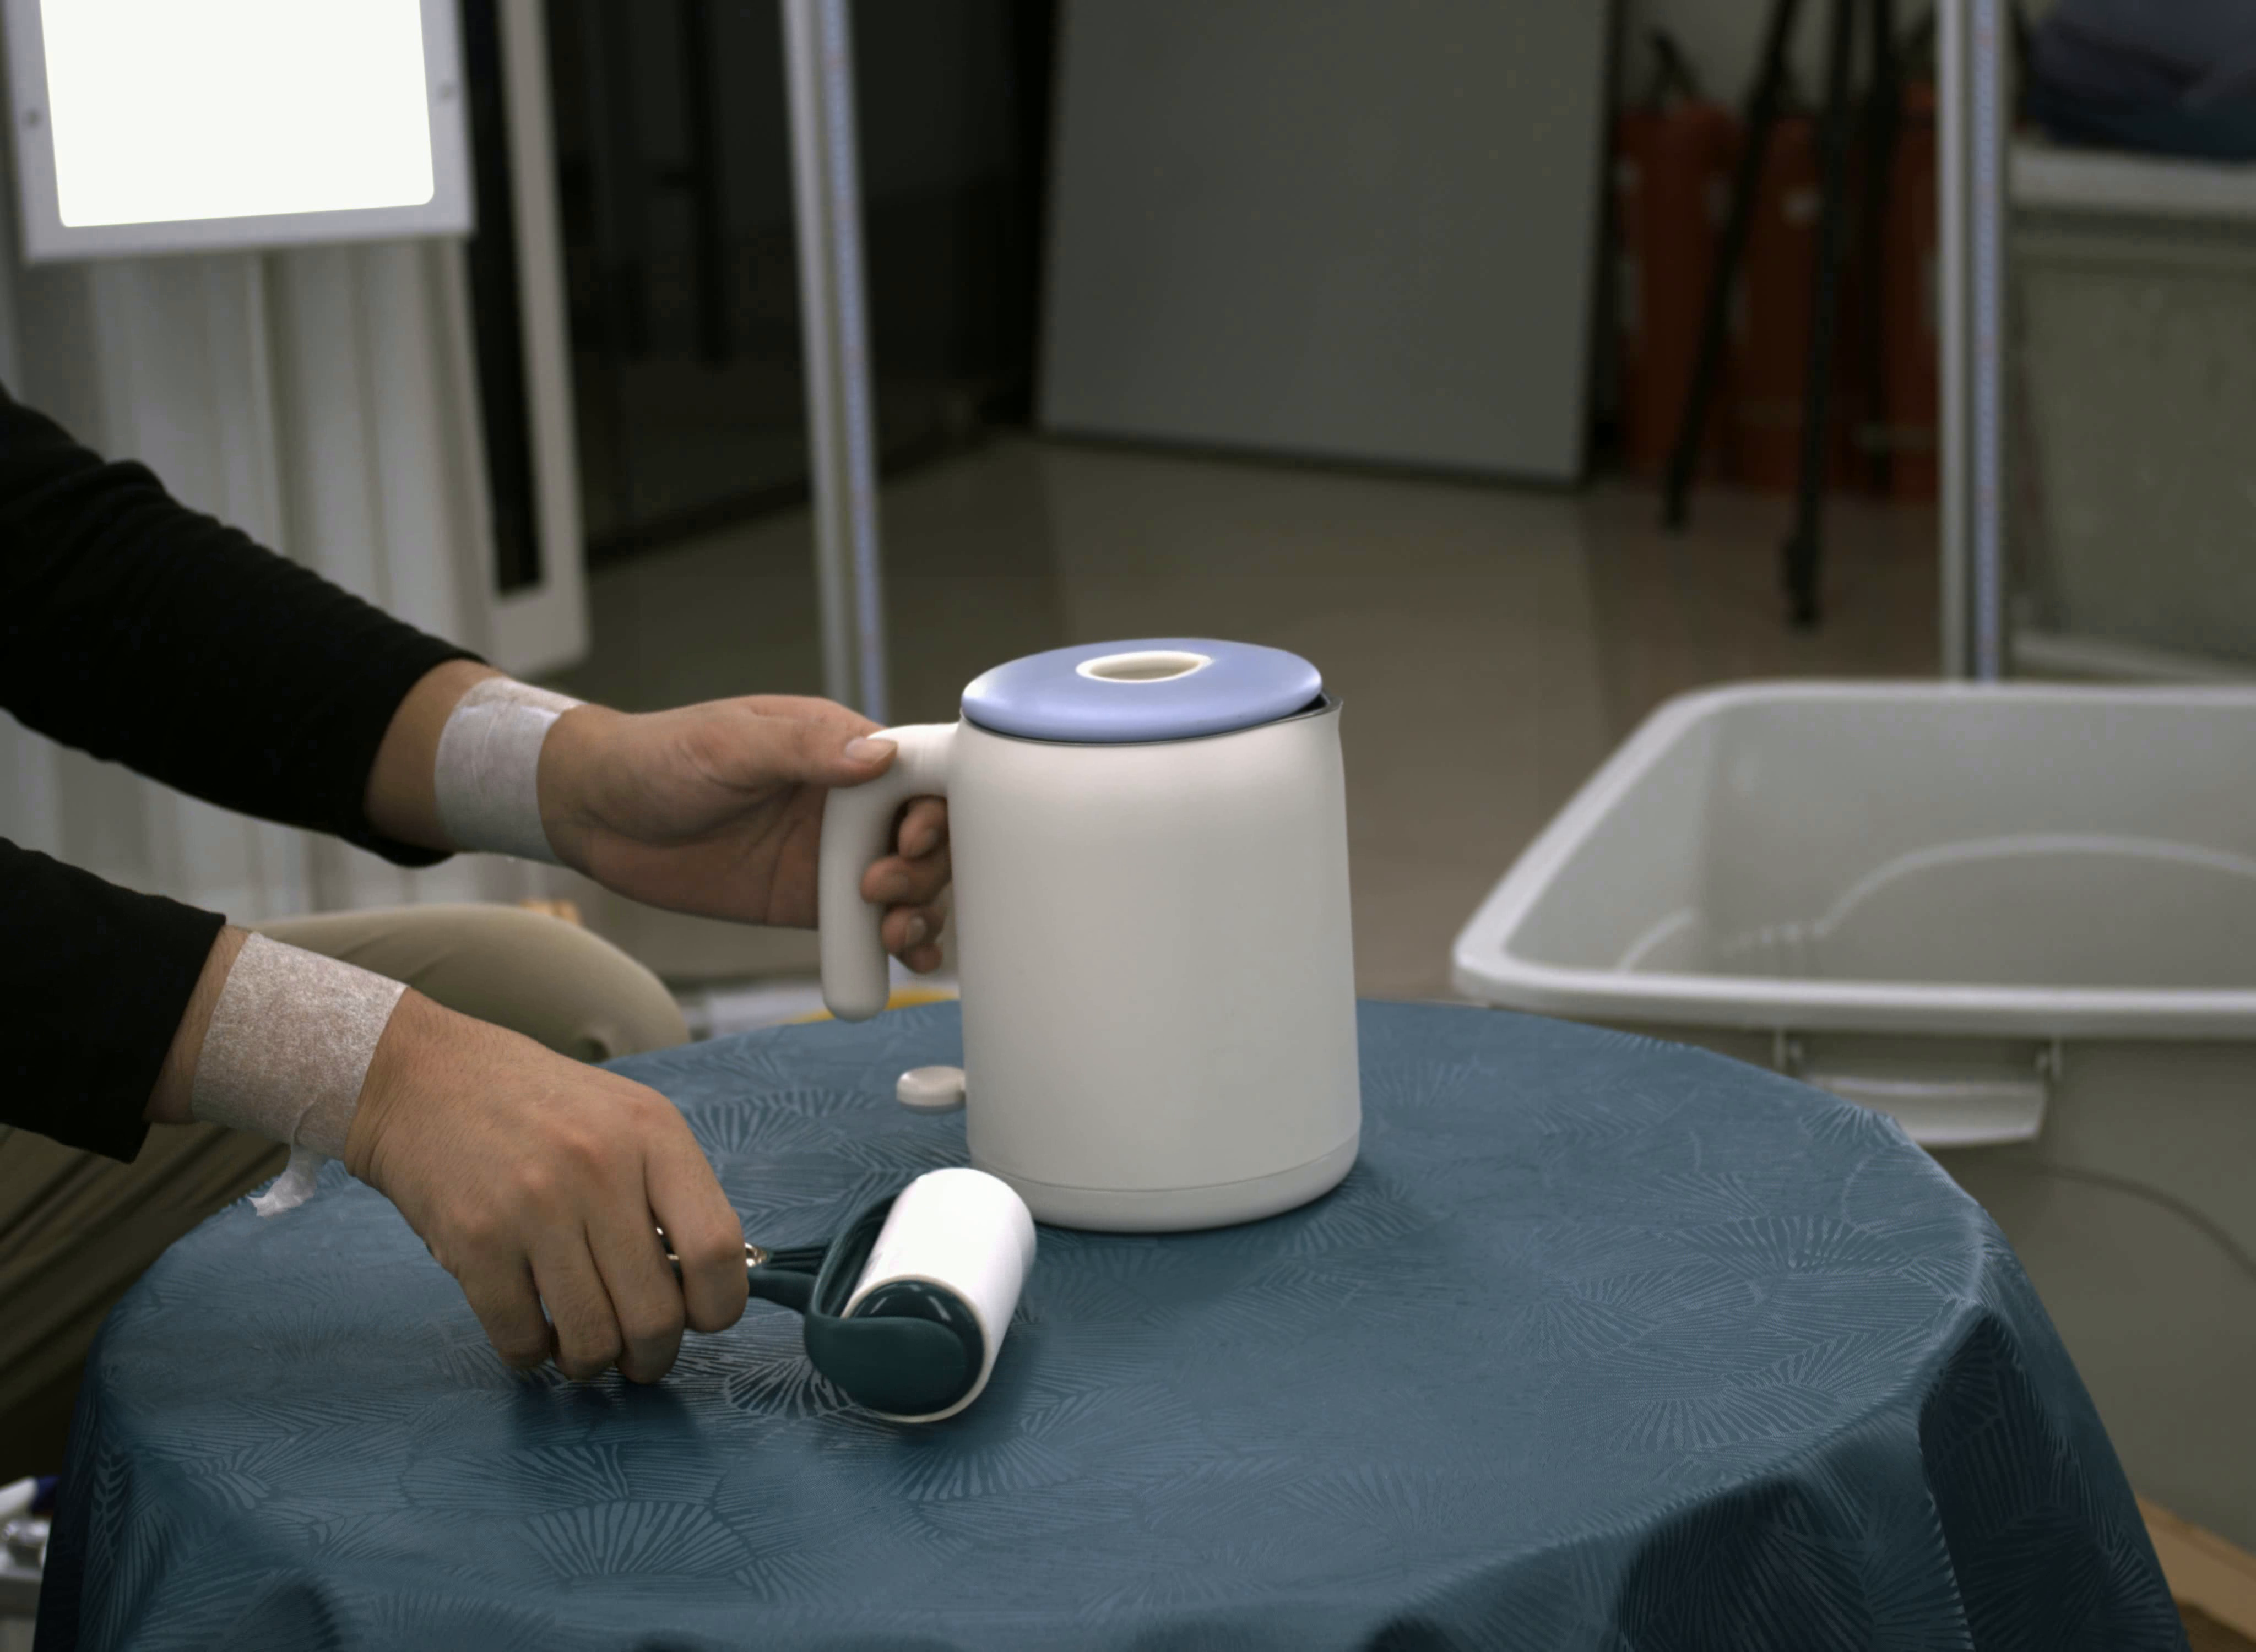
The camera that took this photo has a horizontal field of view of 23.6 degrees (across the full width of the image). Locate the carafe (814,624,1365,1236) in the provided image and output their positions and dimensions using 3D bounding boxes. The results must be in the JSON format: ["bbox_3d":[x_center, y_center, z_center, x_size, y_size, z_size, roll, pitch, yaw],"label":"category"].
[{"bbox_3d":[-0.014,0.033,1.768,0.191,0.184,0.131,-1,13,20],"label":"carafe"}]

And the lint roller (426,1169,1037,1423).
[{"bbox_3d":[-0.122,0.131,1.619,0.179,0.049,0.134,7,15,9],"label":"lint roller"}]
